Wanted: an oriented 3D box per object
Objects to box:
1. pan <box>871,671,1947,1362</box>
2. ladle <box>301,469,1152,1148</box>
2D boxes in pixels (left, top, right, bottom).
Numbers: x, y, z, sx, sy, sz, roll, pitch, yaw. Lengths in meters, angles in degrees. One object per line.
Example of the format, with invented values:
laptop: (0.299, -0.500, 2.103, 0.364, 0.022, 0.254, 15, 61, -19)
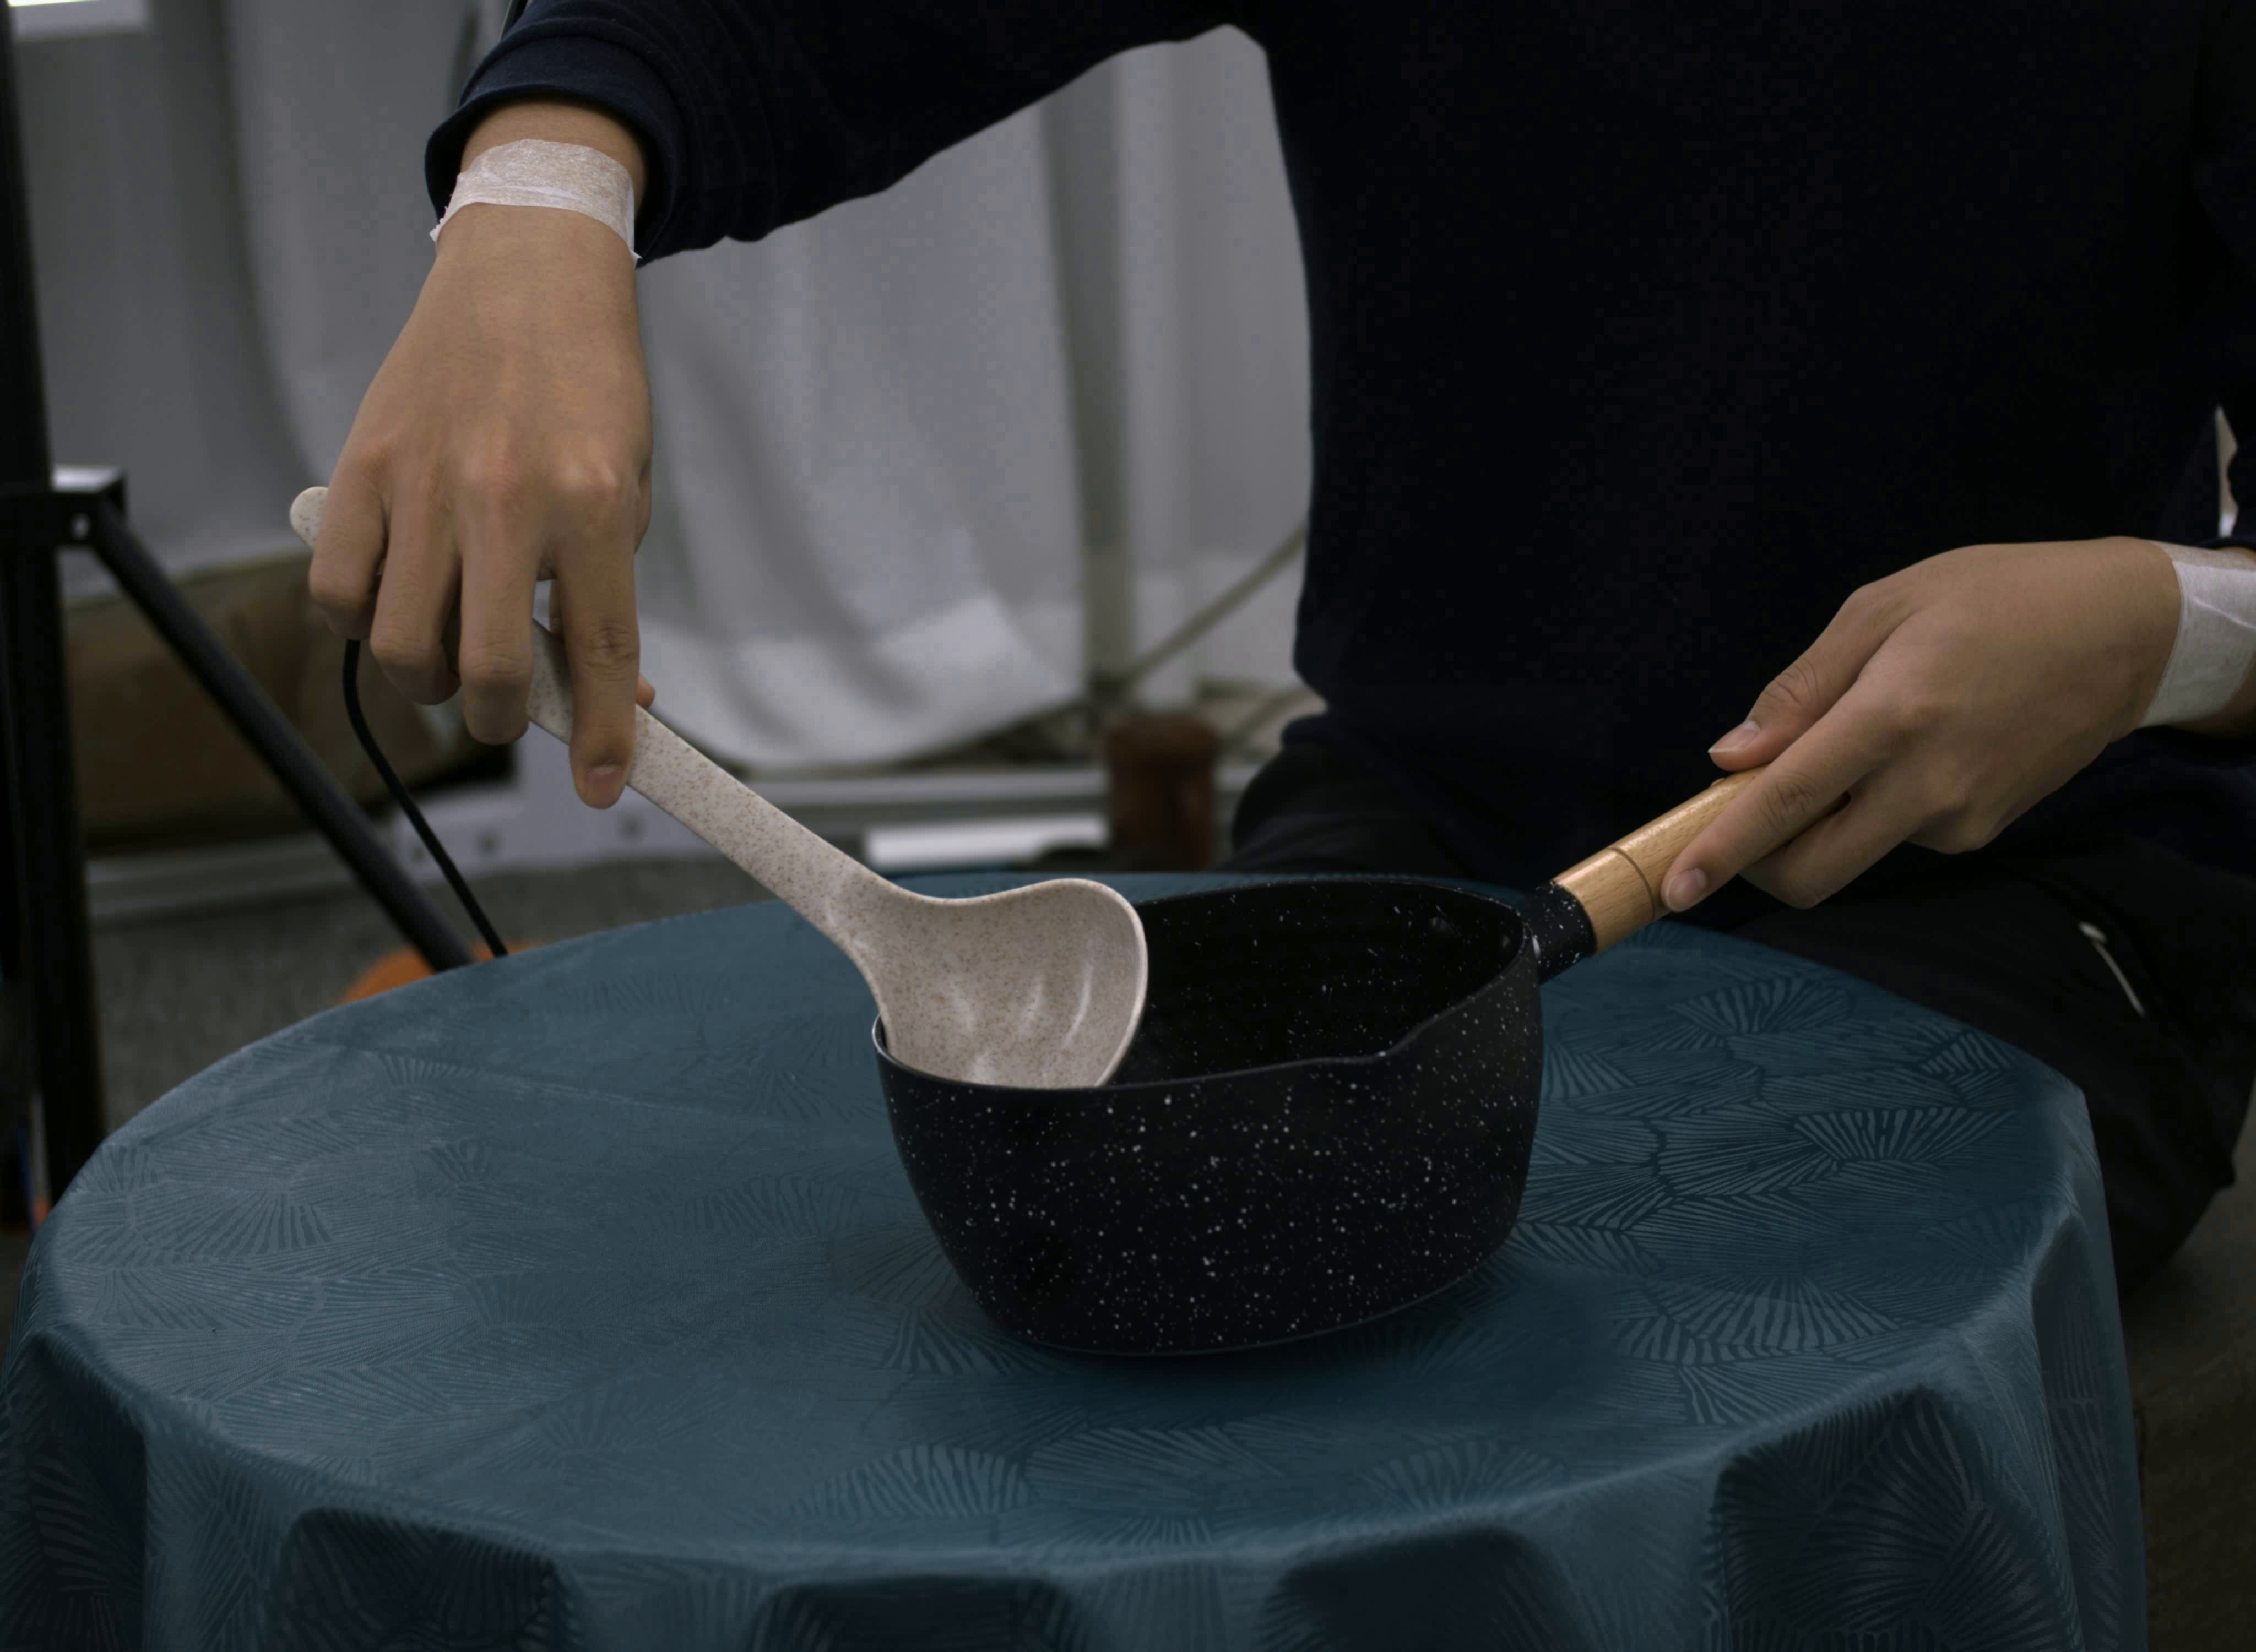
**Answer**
pan: (0.093, 0.051, 1.494, 0.336, 0.108, 0.211, -18, 15, -24)
ladle: (-0.114, -0.012, 1.450, 0.274, 0.089, 0.069, 37, -1, -3)
